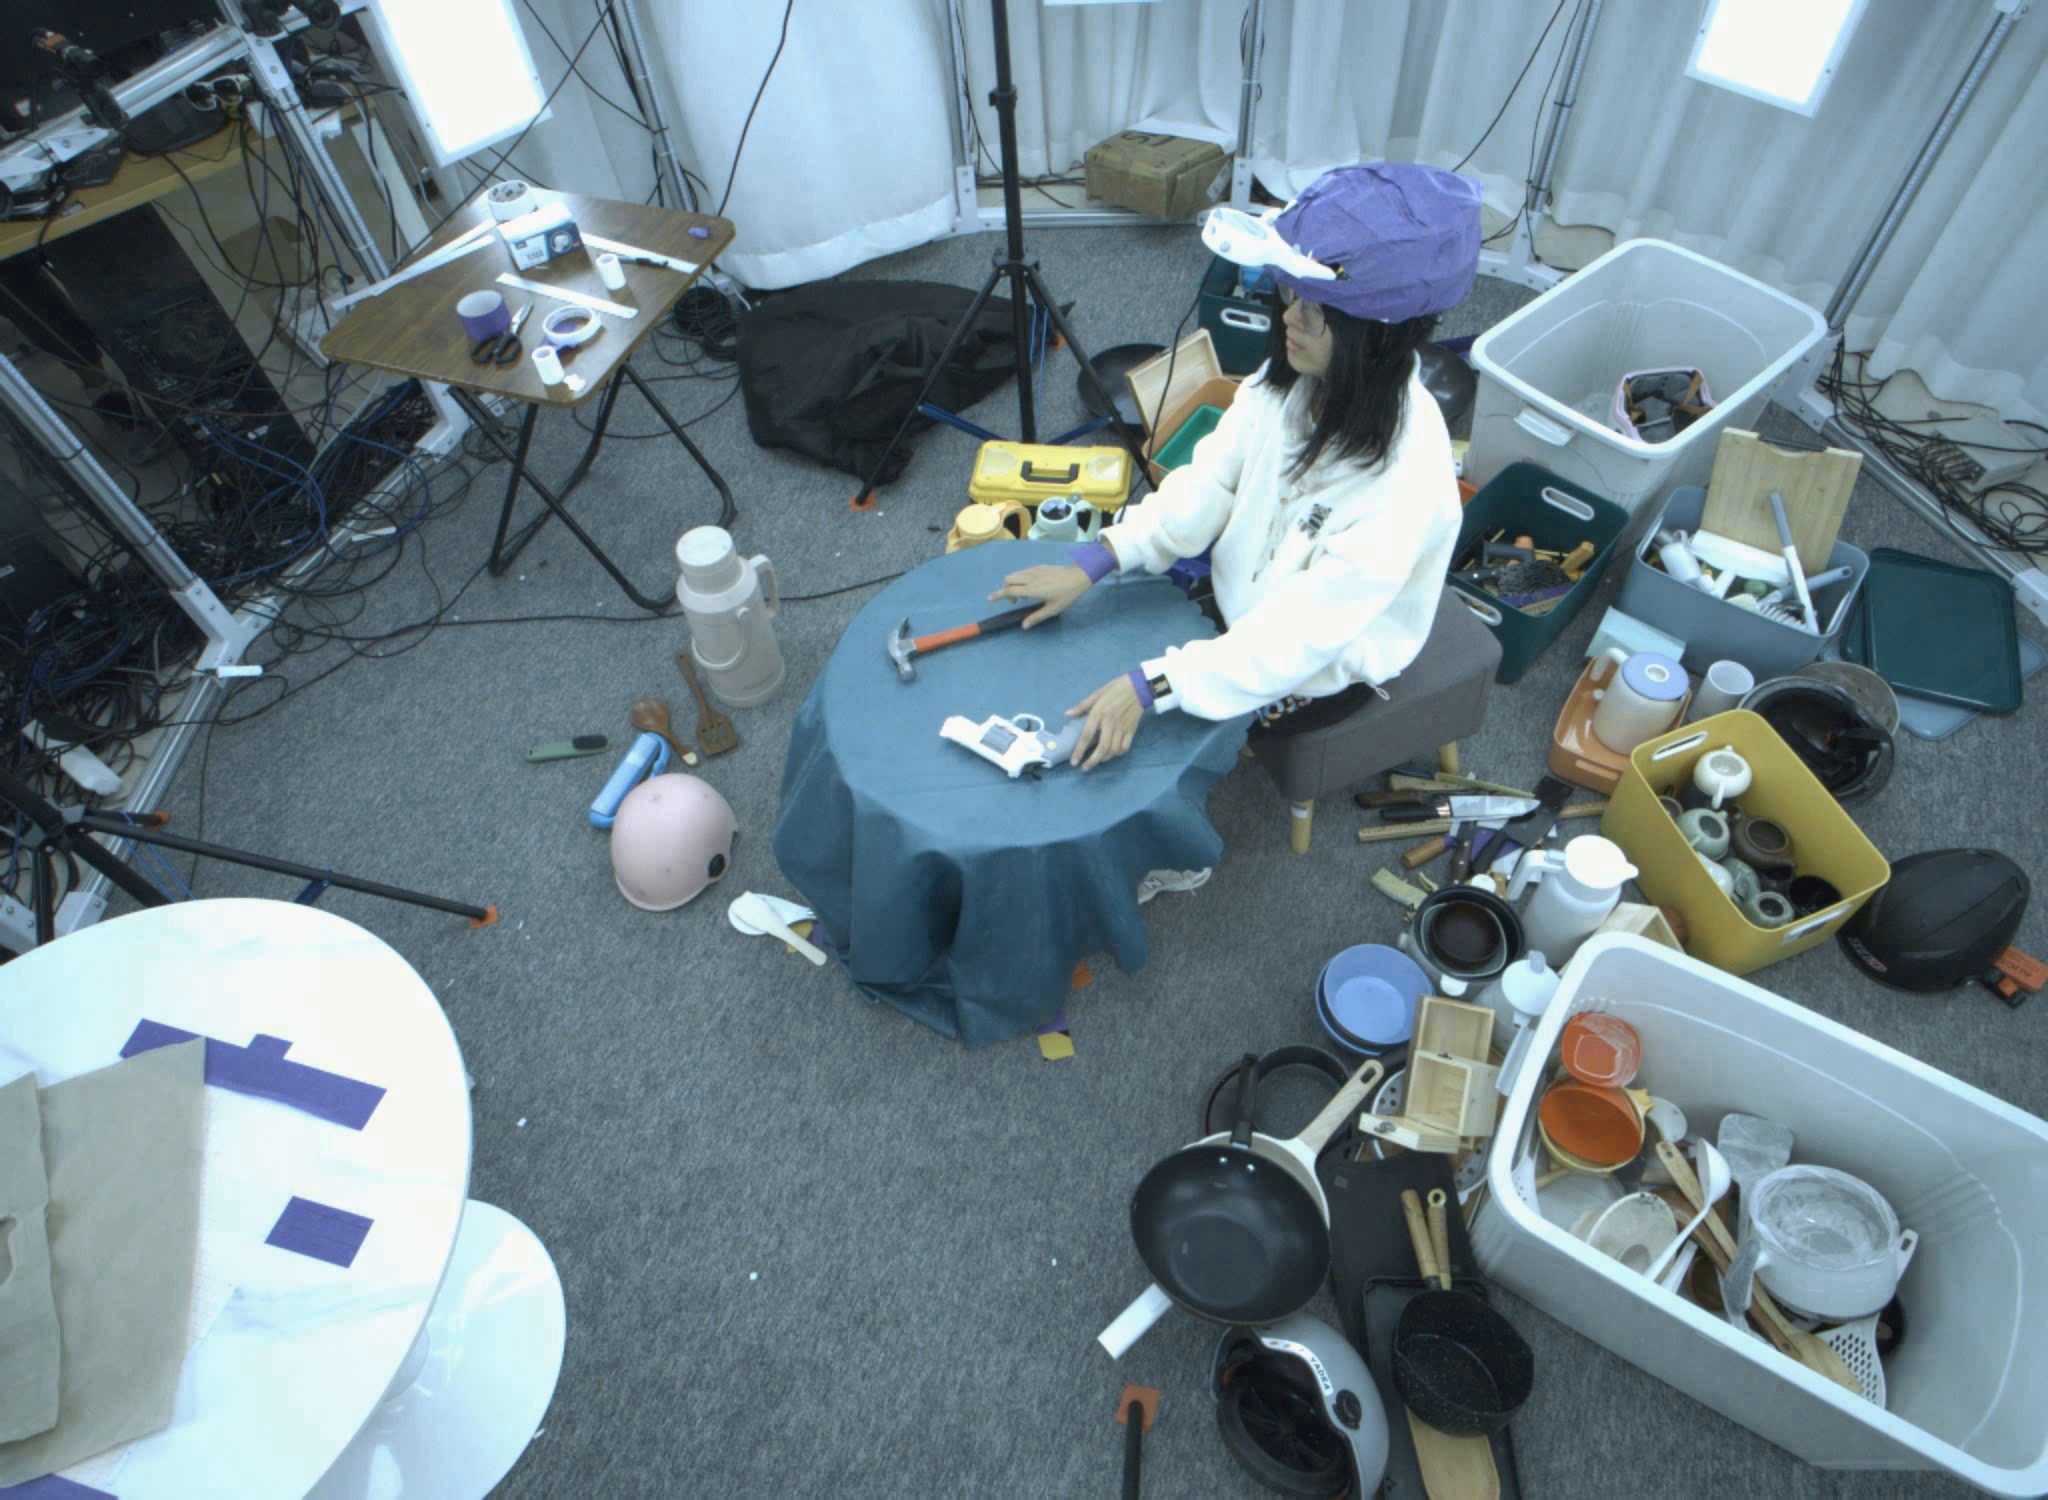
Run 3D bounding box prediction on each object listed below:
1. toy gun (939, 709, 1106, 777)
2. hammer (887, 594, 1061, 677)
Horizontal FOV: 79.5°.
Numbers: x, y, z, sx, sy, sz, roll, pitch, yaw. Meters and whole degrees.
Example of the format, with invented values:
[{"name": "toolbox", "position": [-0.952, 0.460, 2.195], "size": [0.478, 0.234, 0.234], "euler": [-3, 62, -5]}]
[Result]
[{"name": "toy gun", "position": [-0.002, -0.028, 1.782], "size": [0.206, 0.039, 0.142], "euler": [26, 62, 17]}, {"name": "hammer", "position": [-0.078, -0.193, 1.907], "size": [0.279, 0.027, 0.108], "euler": [-17, 47, -10]}]
